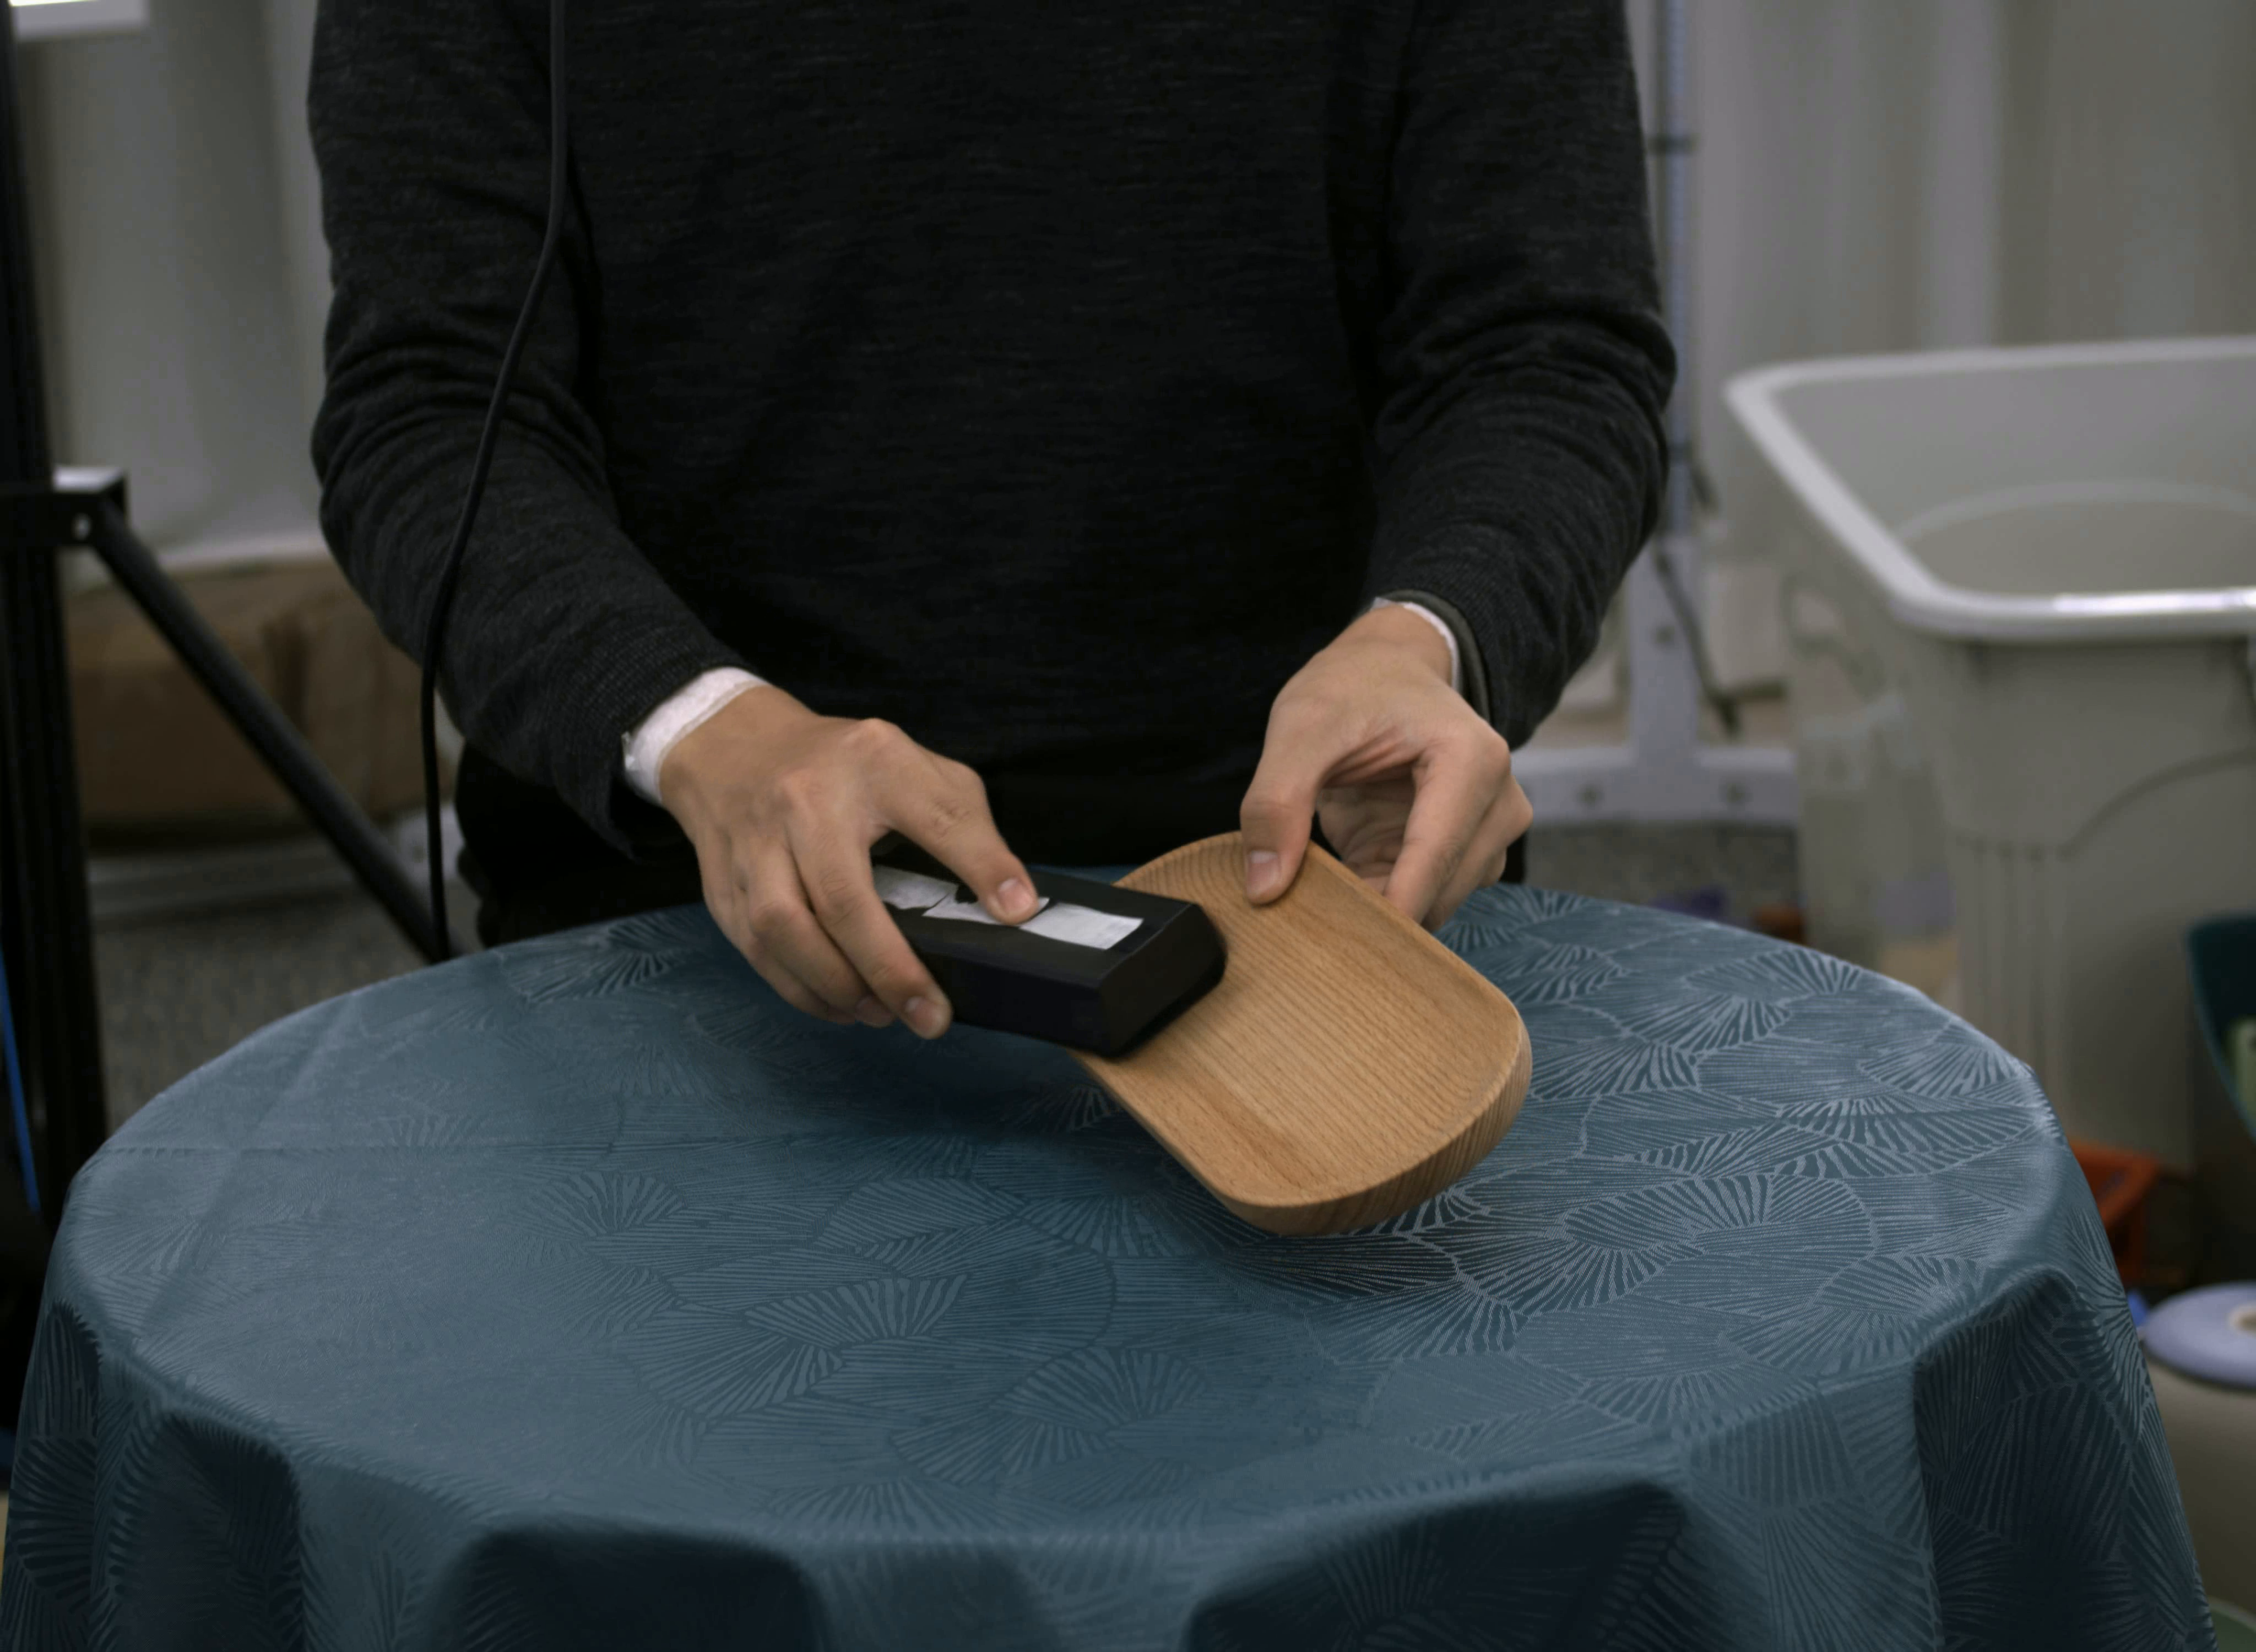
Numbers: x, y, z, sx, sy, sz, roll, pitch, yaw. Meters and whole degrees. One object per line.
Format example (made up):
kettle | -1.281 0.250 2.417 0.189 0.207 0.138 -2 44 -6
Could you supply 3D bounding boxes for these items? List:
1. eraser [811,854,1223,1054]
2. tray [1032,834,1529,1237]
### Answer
eraser | -0.033 0.038 1.615 0.128 0.030 0.053 9 34 41
tray | 0.041 0.060 1.557 0.101 0.020 0.235 -32 26 -10
